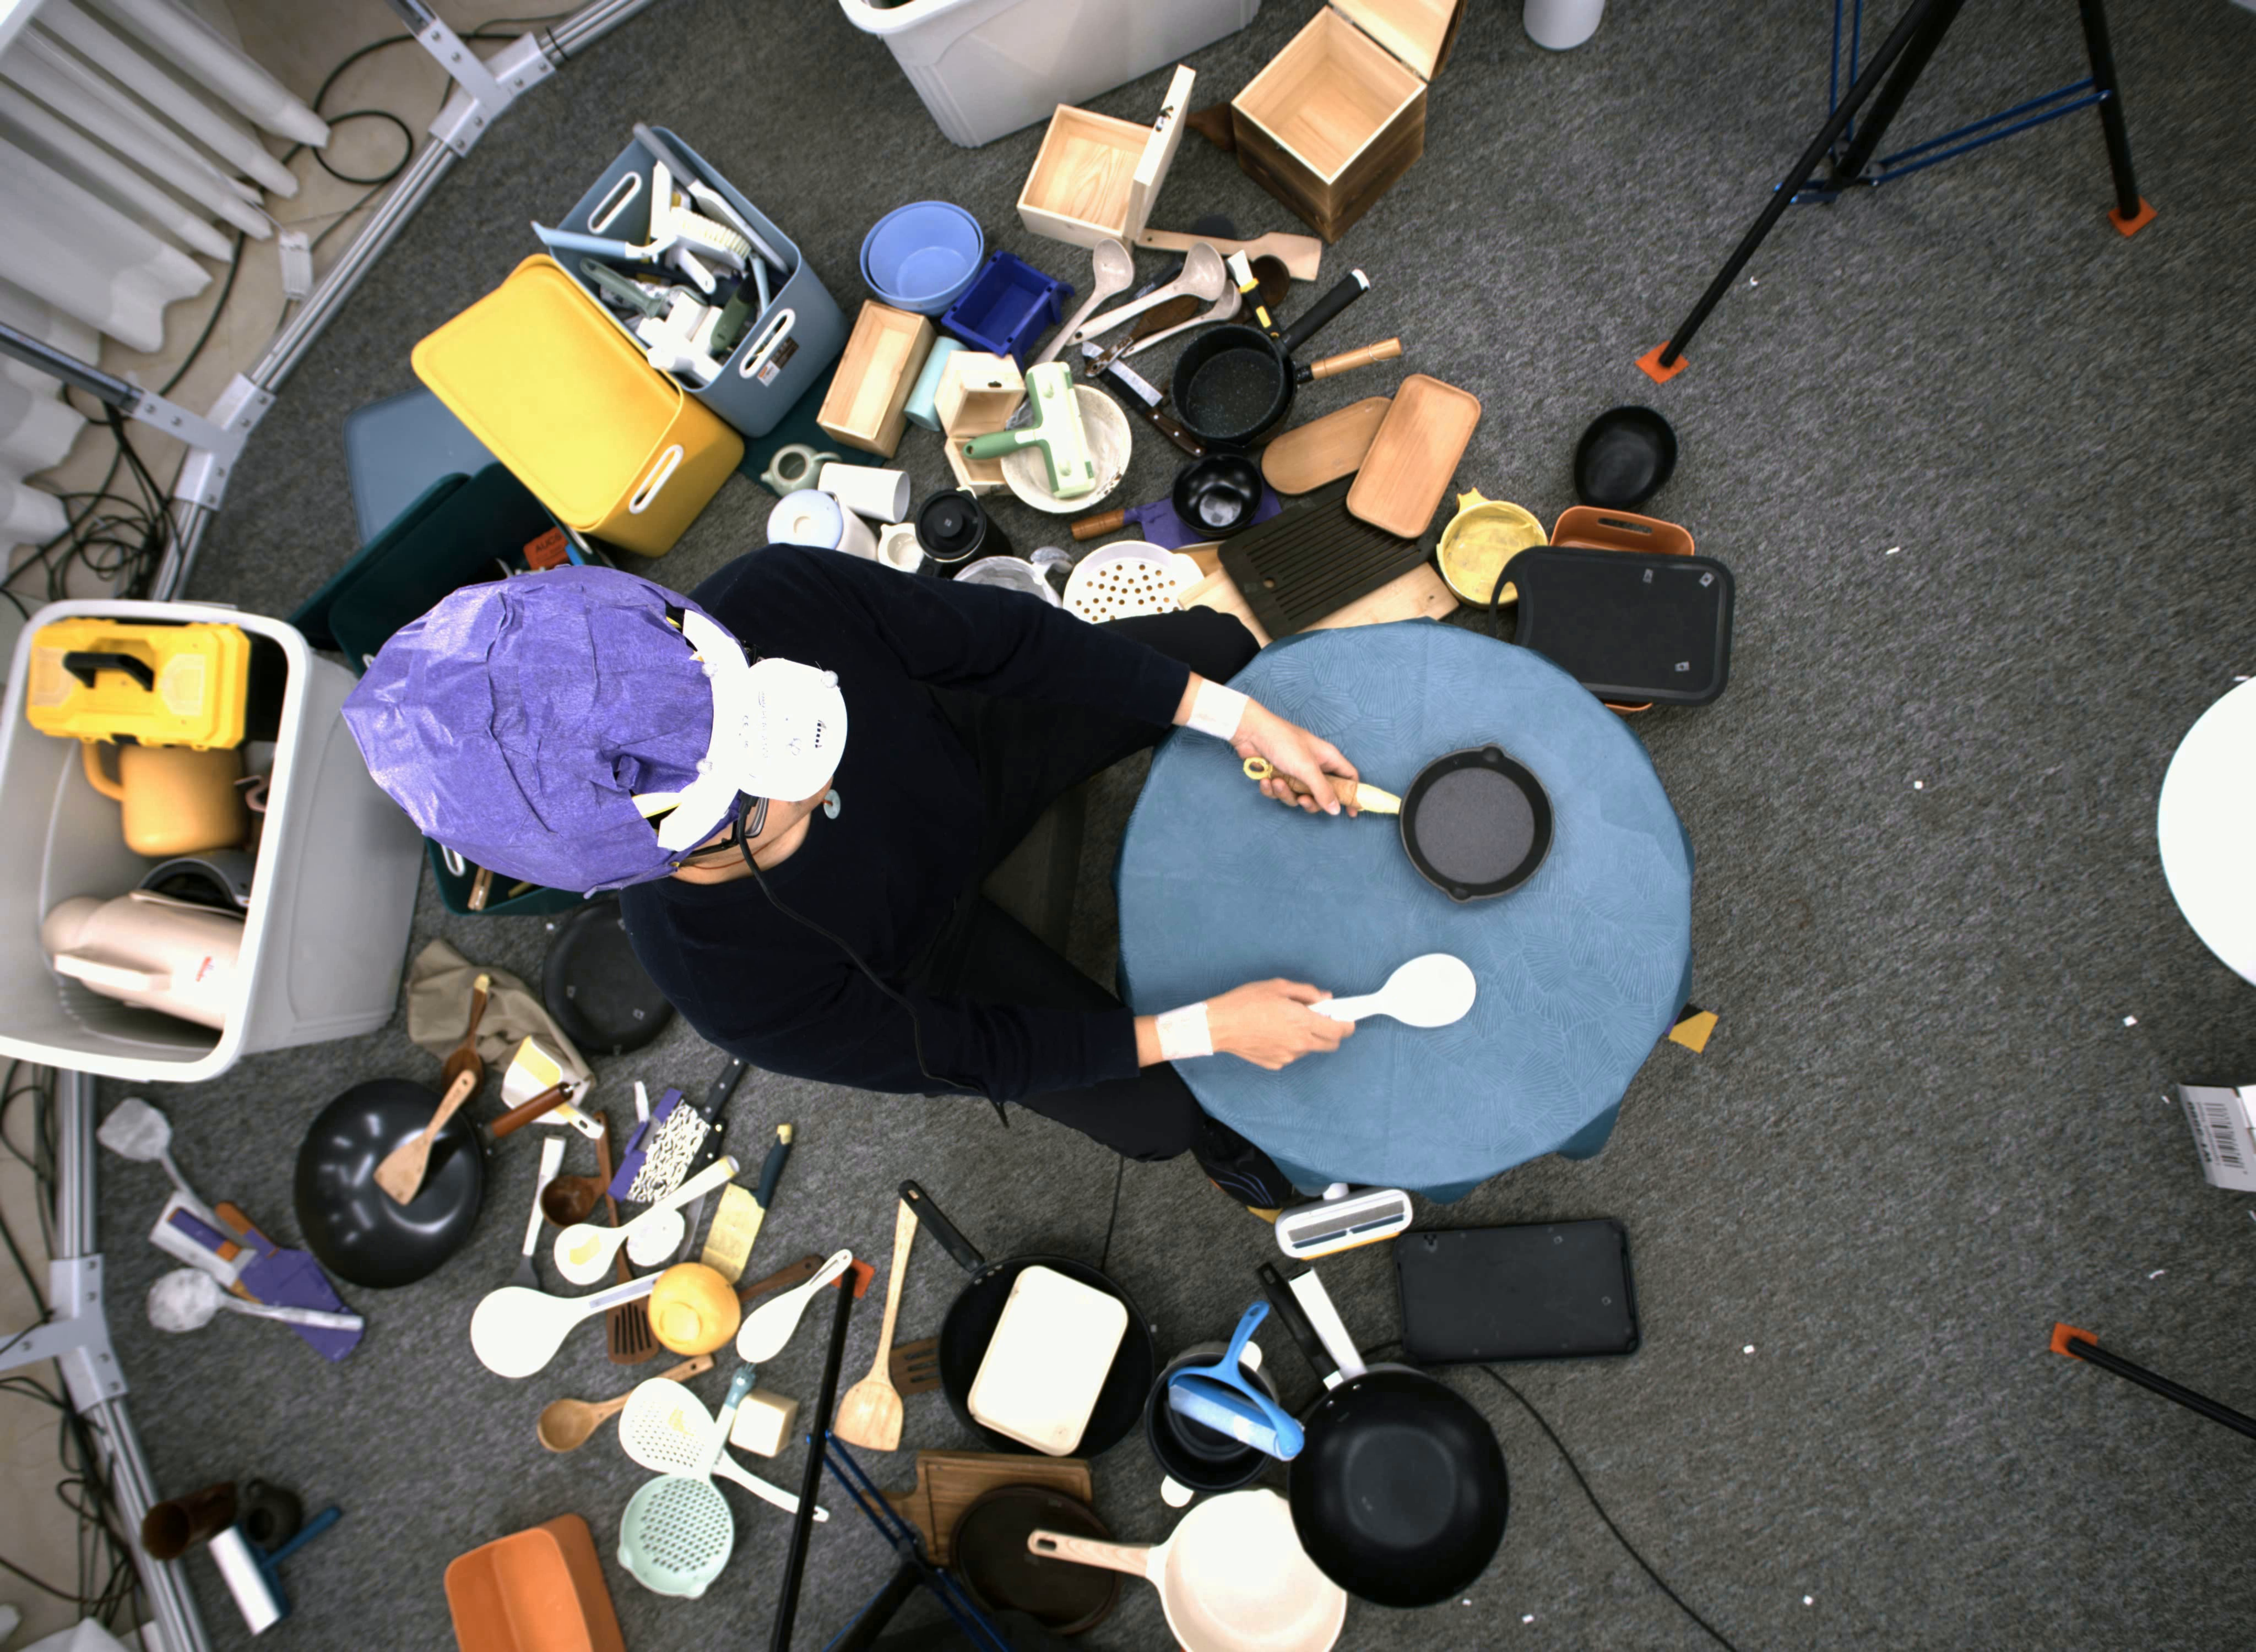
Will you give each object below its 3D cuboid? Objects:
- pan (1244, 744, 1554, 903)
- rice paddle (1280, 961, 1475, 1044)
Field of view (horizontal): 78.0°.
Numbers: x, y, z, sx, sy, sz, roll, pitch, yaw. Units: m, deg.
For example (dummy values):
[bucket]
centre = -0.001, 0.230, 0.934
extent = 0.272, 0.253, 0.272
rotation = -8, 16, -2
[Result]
[pan]
centre = 0.280, -0.026, 1.438
extent = 0.324, 0.049, 0.169
rotation = 16, 90, 9
[rice paddle]
centre = 0.260, 0.186, 1.429
extent = 0.205, 0.029, 0.068
rotation = -13, 88, 1
